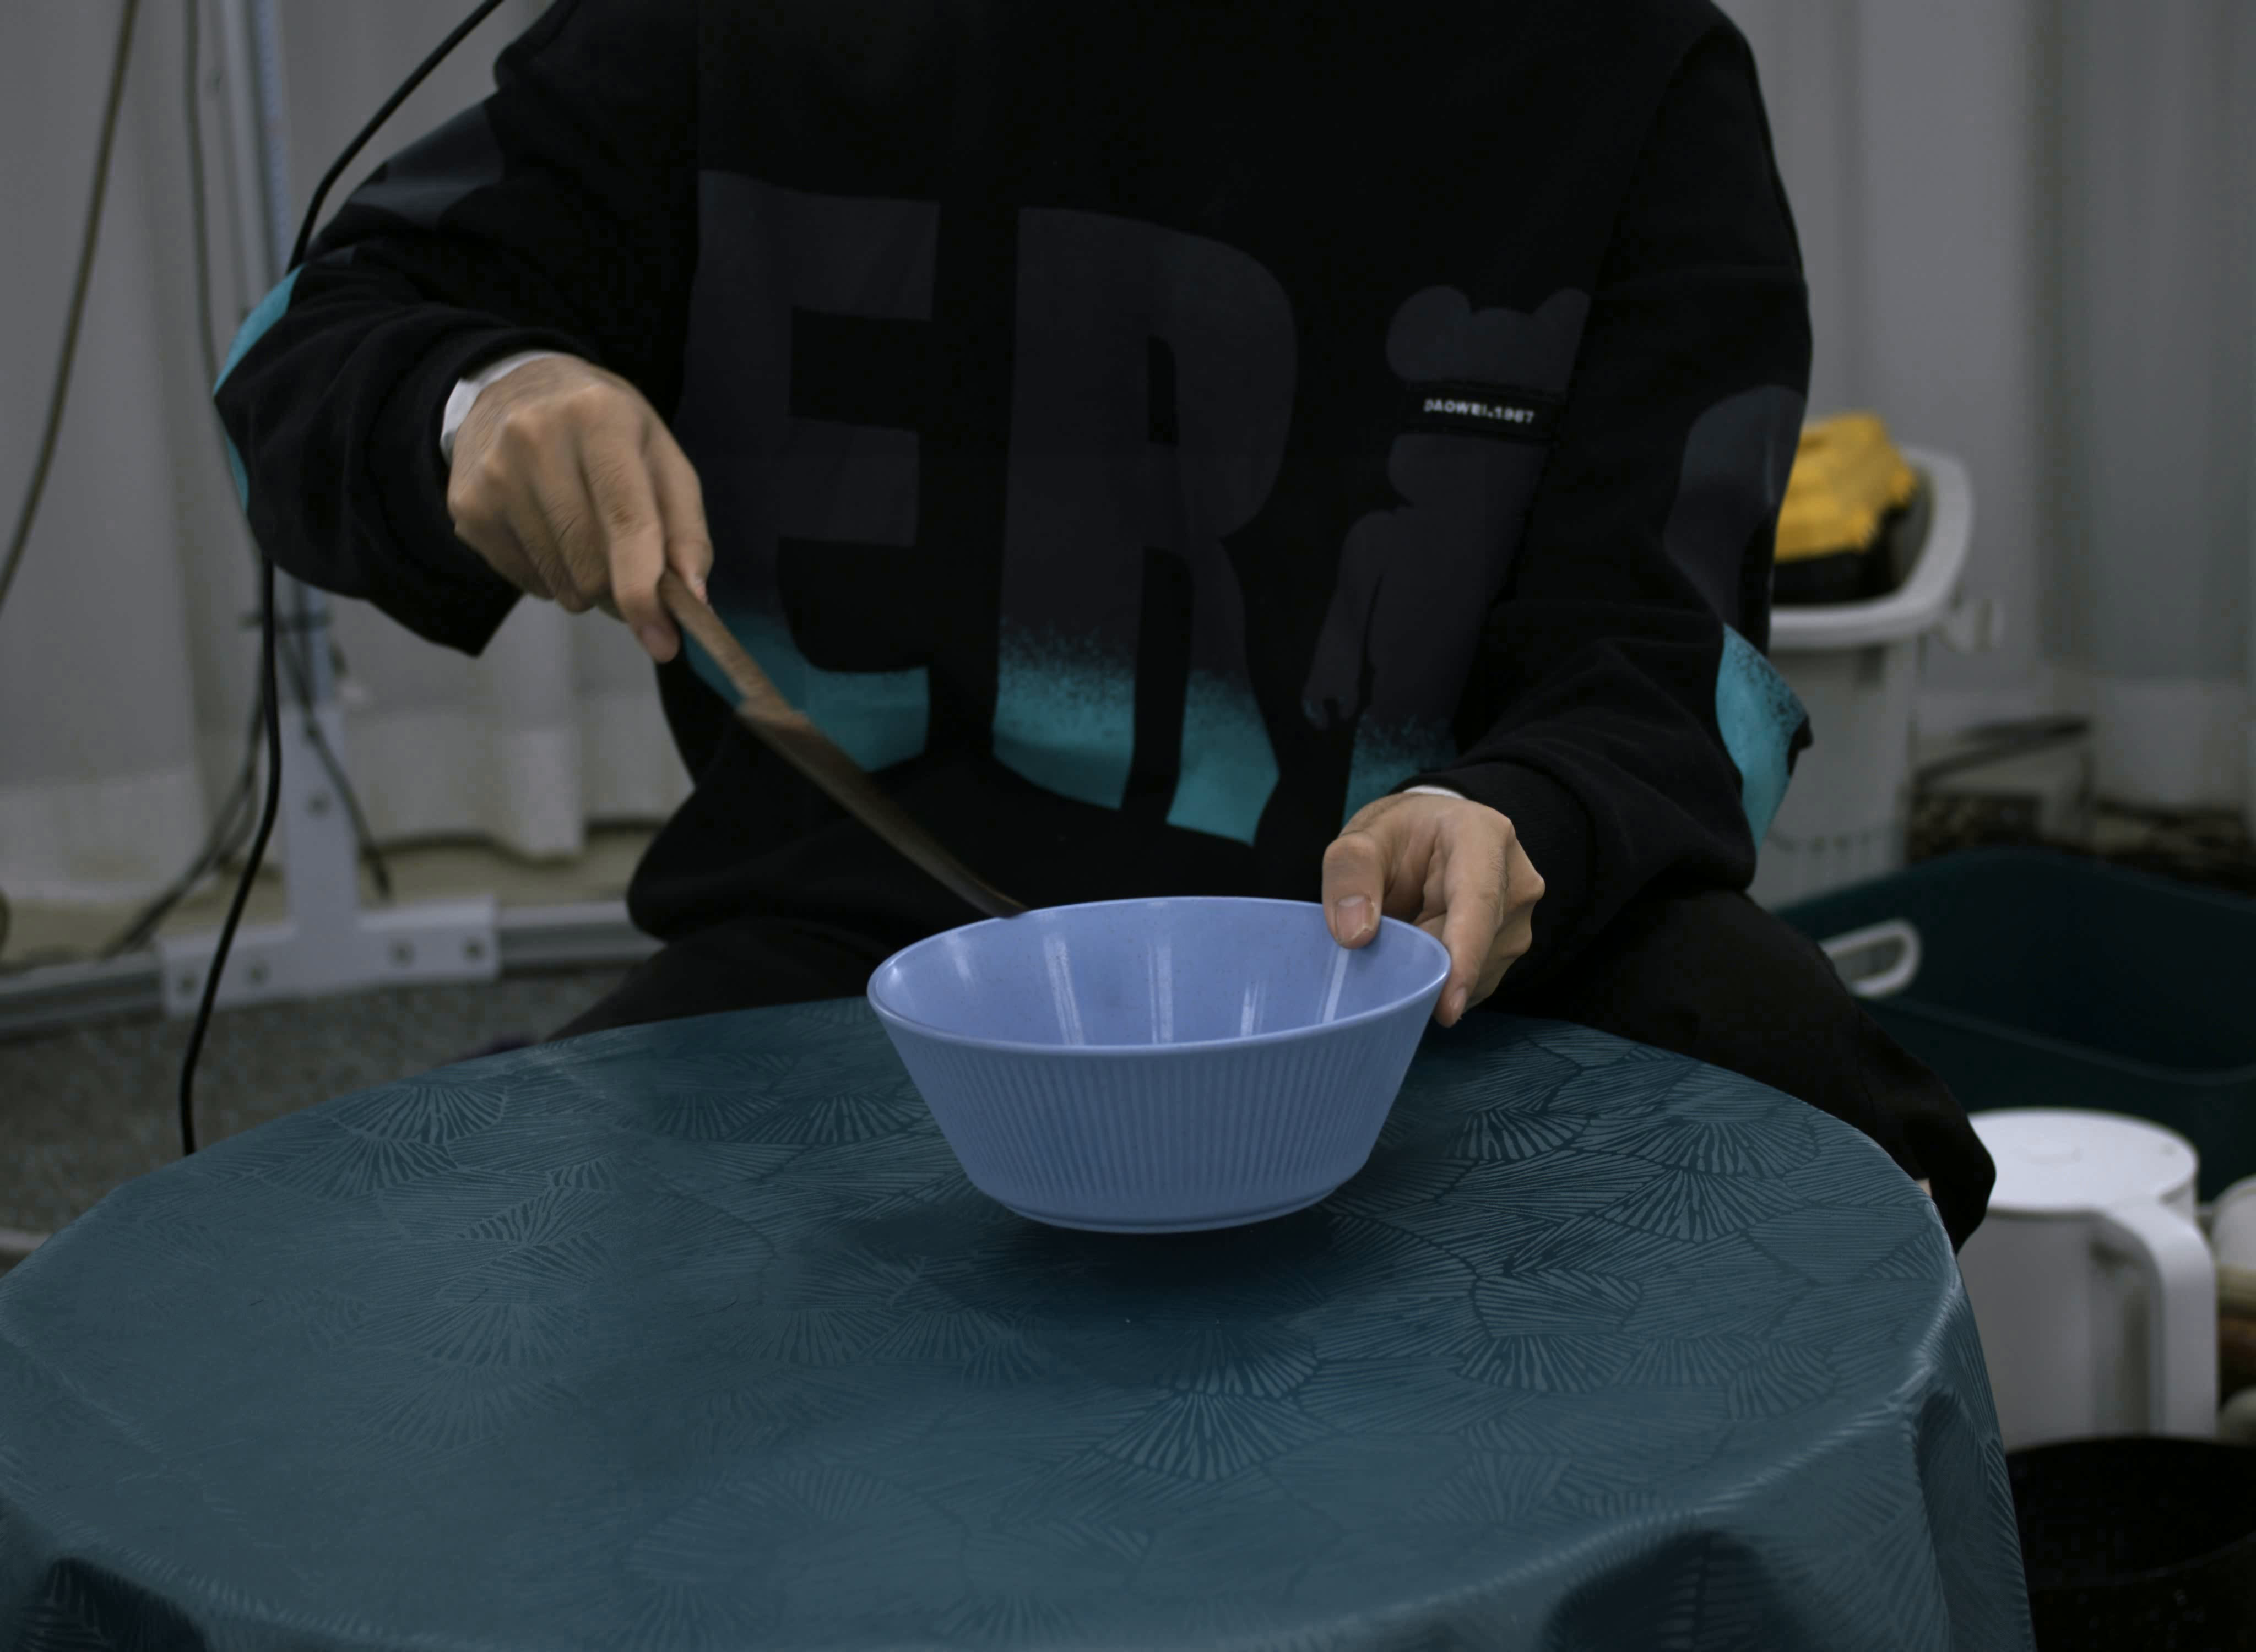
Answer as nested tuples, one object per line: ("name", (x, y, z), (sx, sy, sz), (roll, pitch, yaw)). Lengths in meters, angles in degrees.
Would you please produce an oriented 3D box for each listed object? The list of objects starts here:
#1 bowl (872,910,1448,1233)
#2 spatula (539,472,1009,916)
("bowl", (0.011, 0.076, 1.654), (0.175, 0.070, 0.177), (-3, 11, 0))
("spatula", (-0.128, -0.054, 1.712), (0.095, 0.016, 0.390), (39, 2, -27))
